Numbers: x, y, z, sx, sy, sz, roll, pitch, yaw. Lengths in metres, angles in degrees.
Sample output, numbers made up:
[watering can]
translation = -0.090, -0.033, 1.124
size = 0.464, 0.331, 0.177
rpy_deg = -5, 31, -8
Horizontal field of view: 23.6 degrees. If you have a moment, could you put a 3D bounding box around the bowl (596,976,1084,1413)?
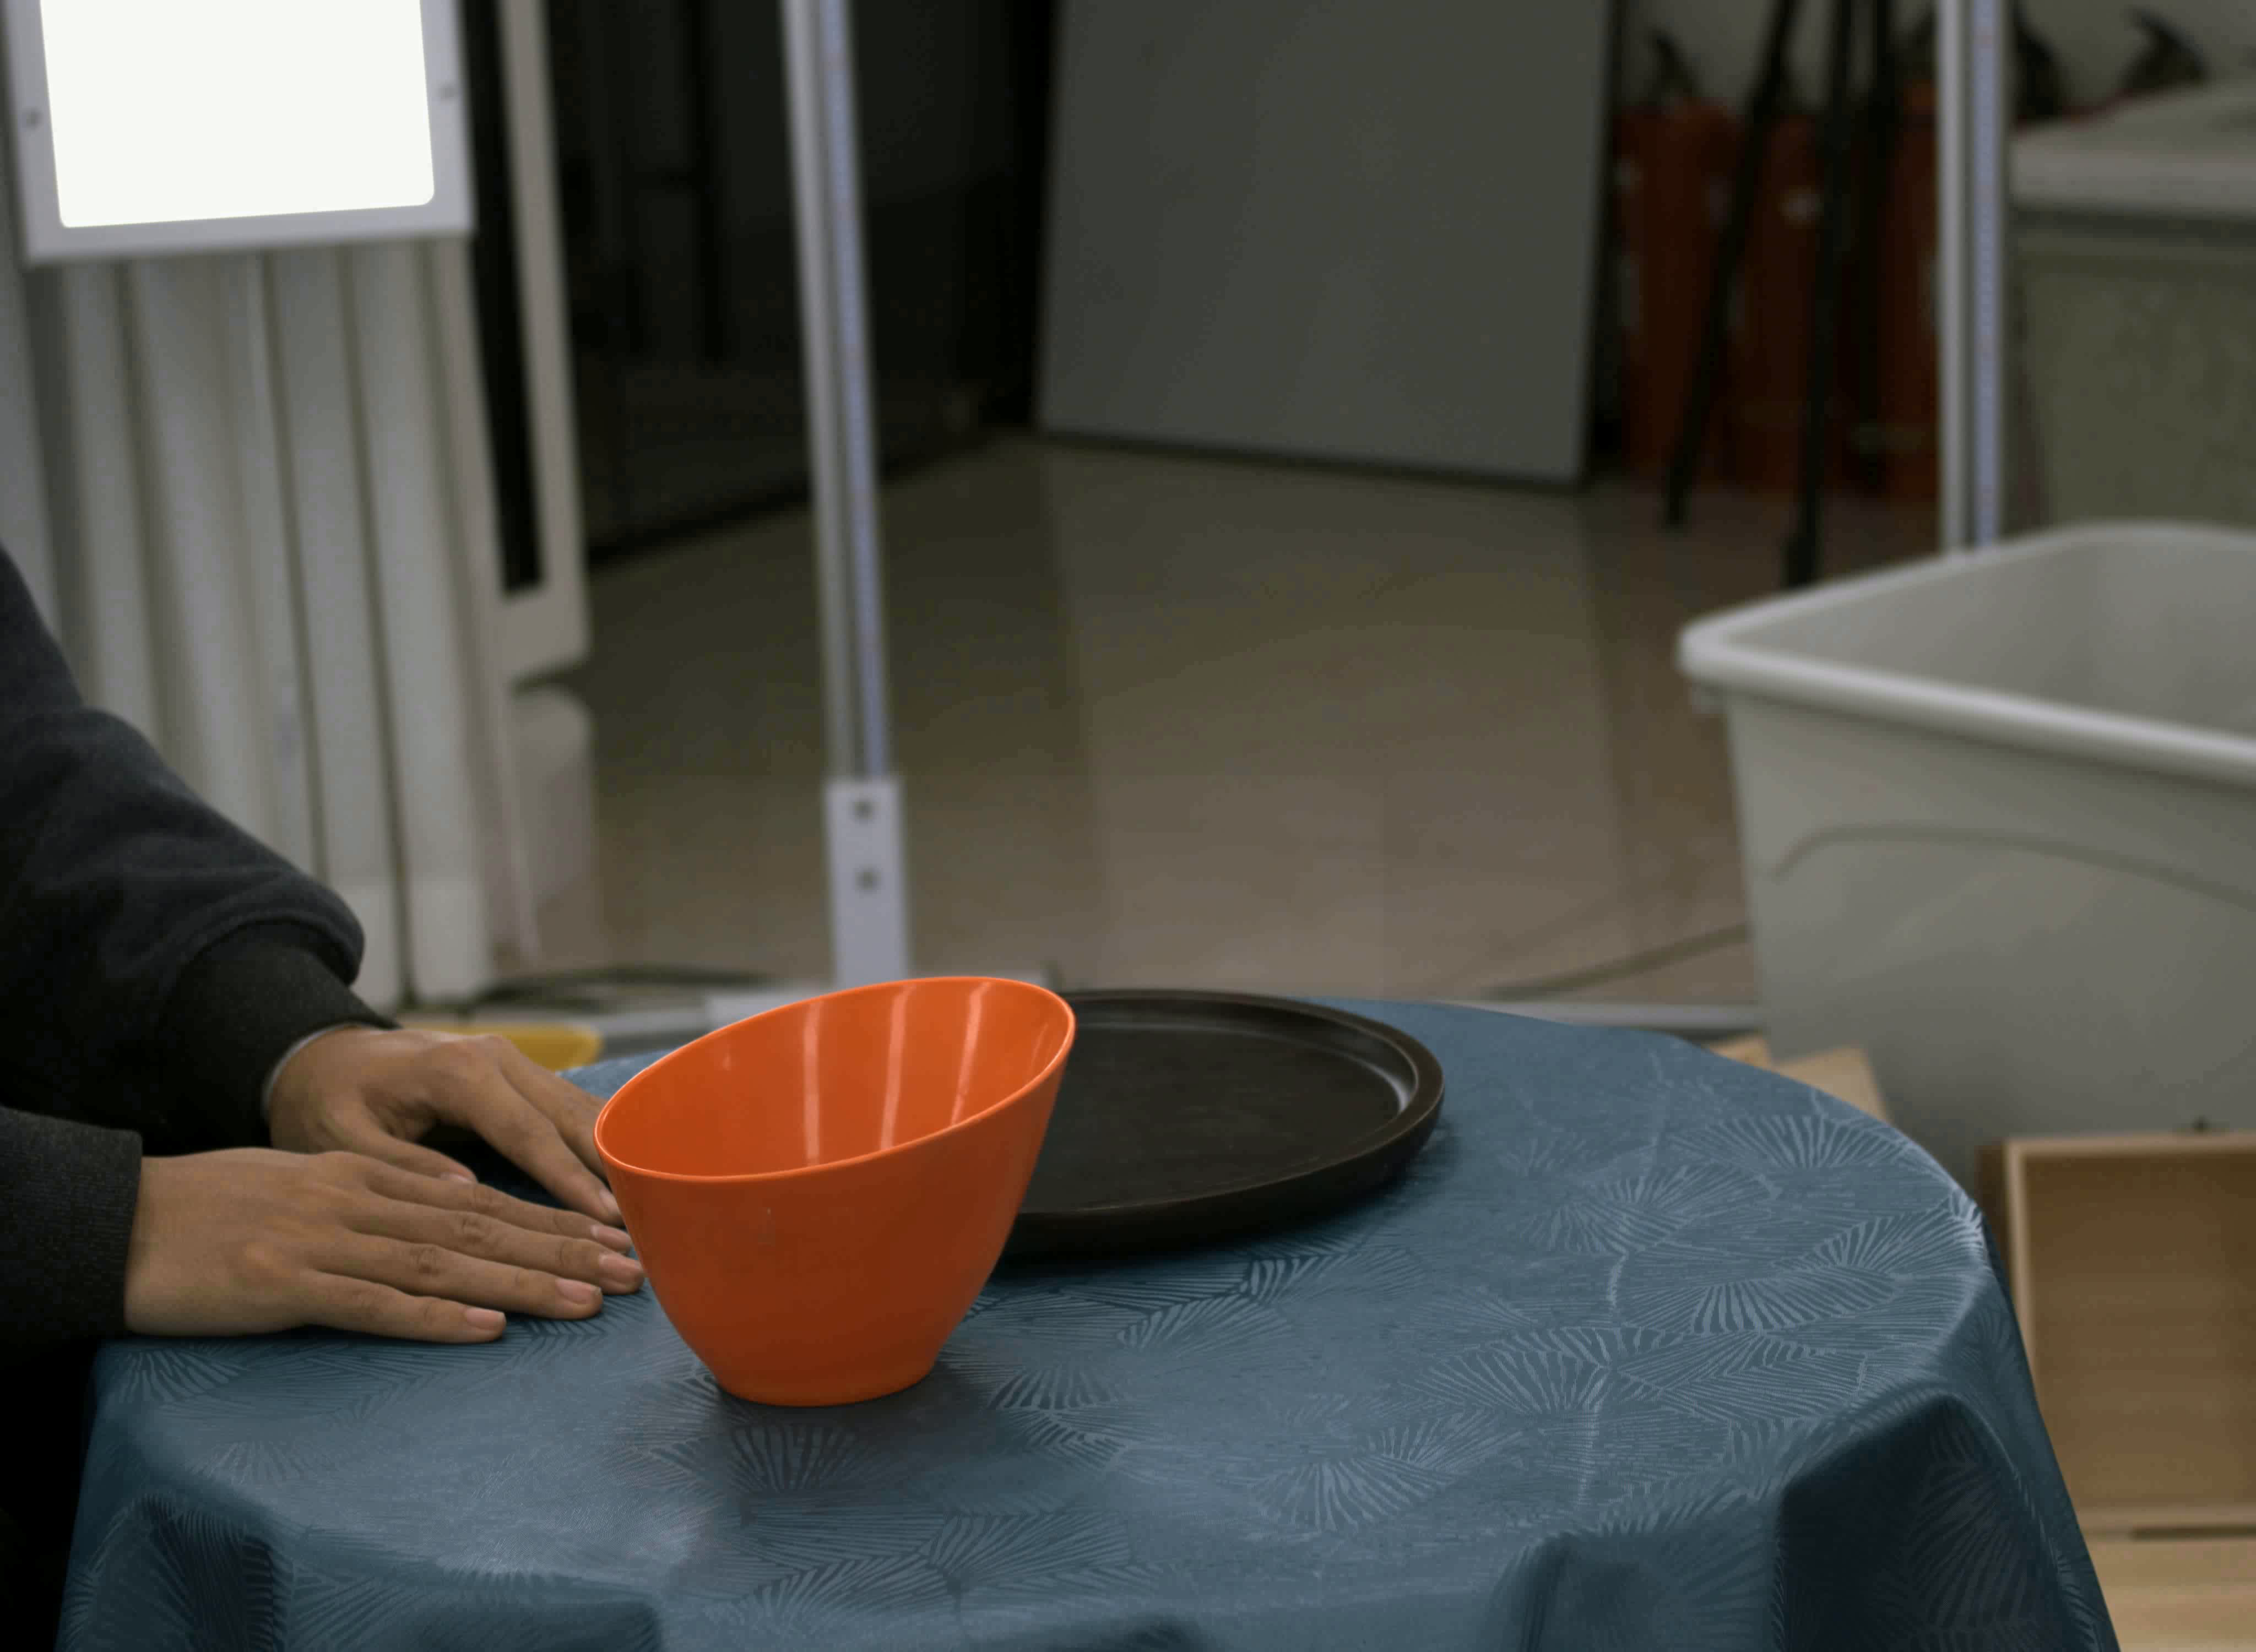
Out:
[bowl]
translation = -0.083, 0.113, 1.611
size = 0.146, 0.106, 0.148
rpy_deg = -3, 15, 0

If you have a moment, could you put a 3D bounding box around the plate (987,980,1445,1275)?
[plate]
translation = -0.018, 0.101, 1.808
size = 0.251, 0.029, 0.255
rpy_deg = -5, 15, 0
